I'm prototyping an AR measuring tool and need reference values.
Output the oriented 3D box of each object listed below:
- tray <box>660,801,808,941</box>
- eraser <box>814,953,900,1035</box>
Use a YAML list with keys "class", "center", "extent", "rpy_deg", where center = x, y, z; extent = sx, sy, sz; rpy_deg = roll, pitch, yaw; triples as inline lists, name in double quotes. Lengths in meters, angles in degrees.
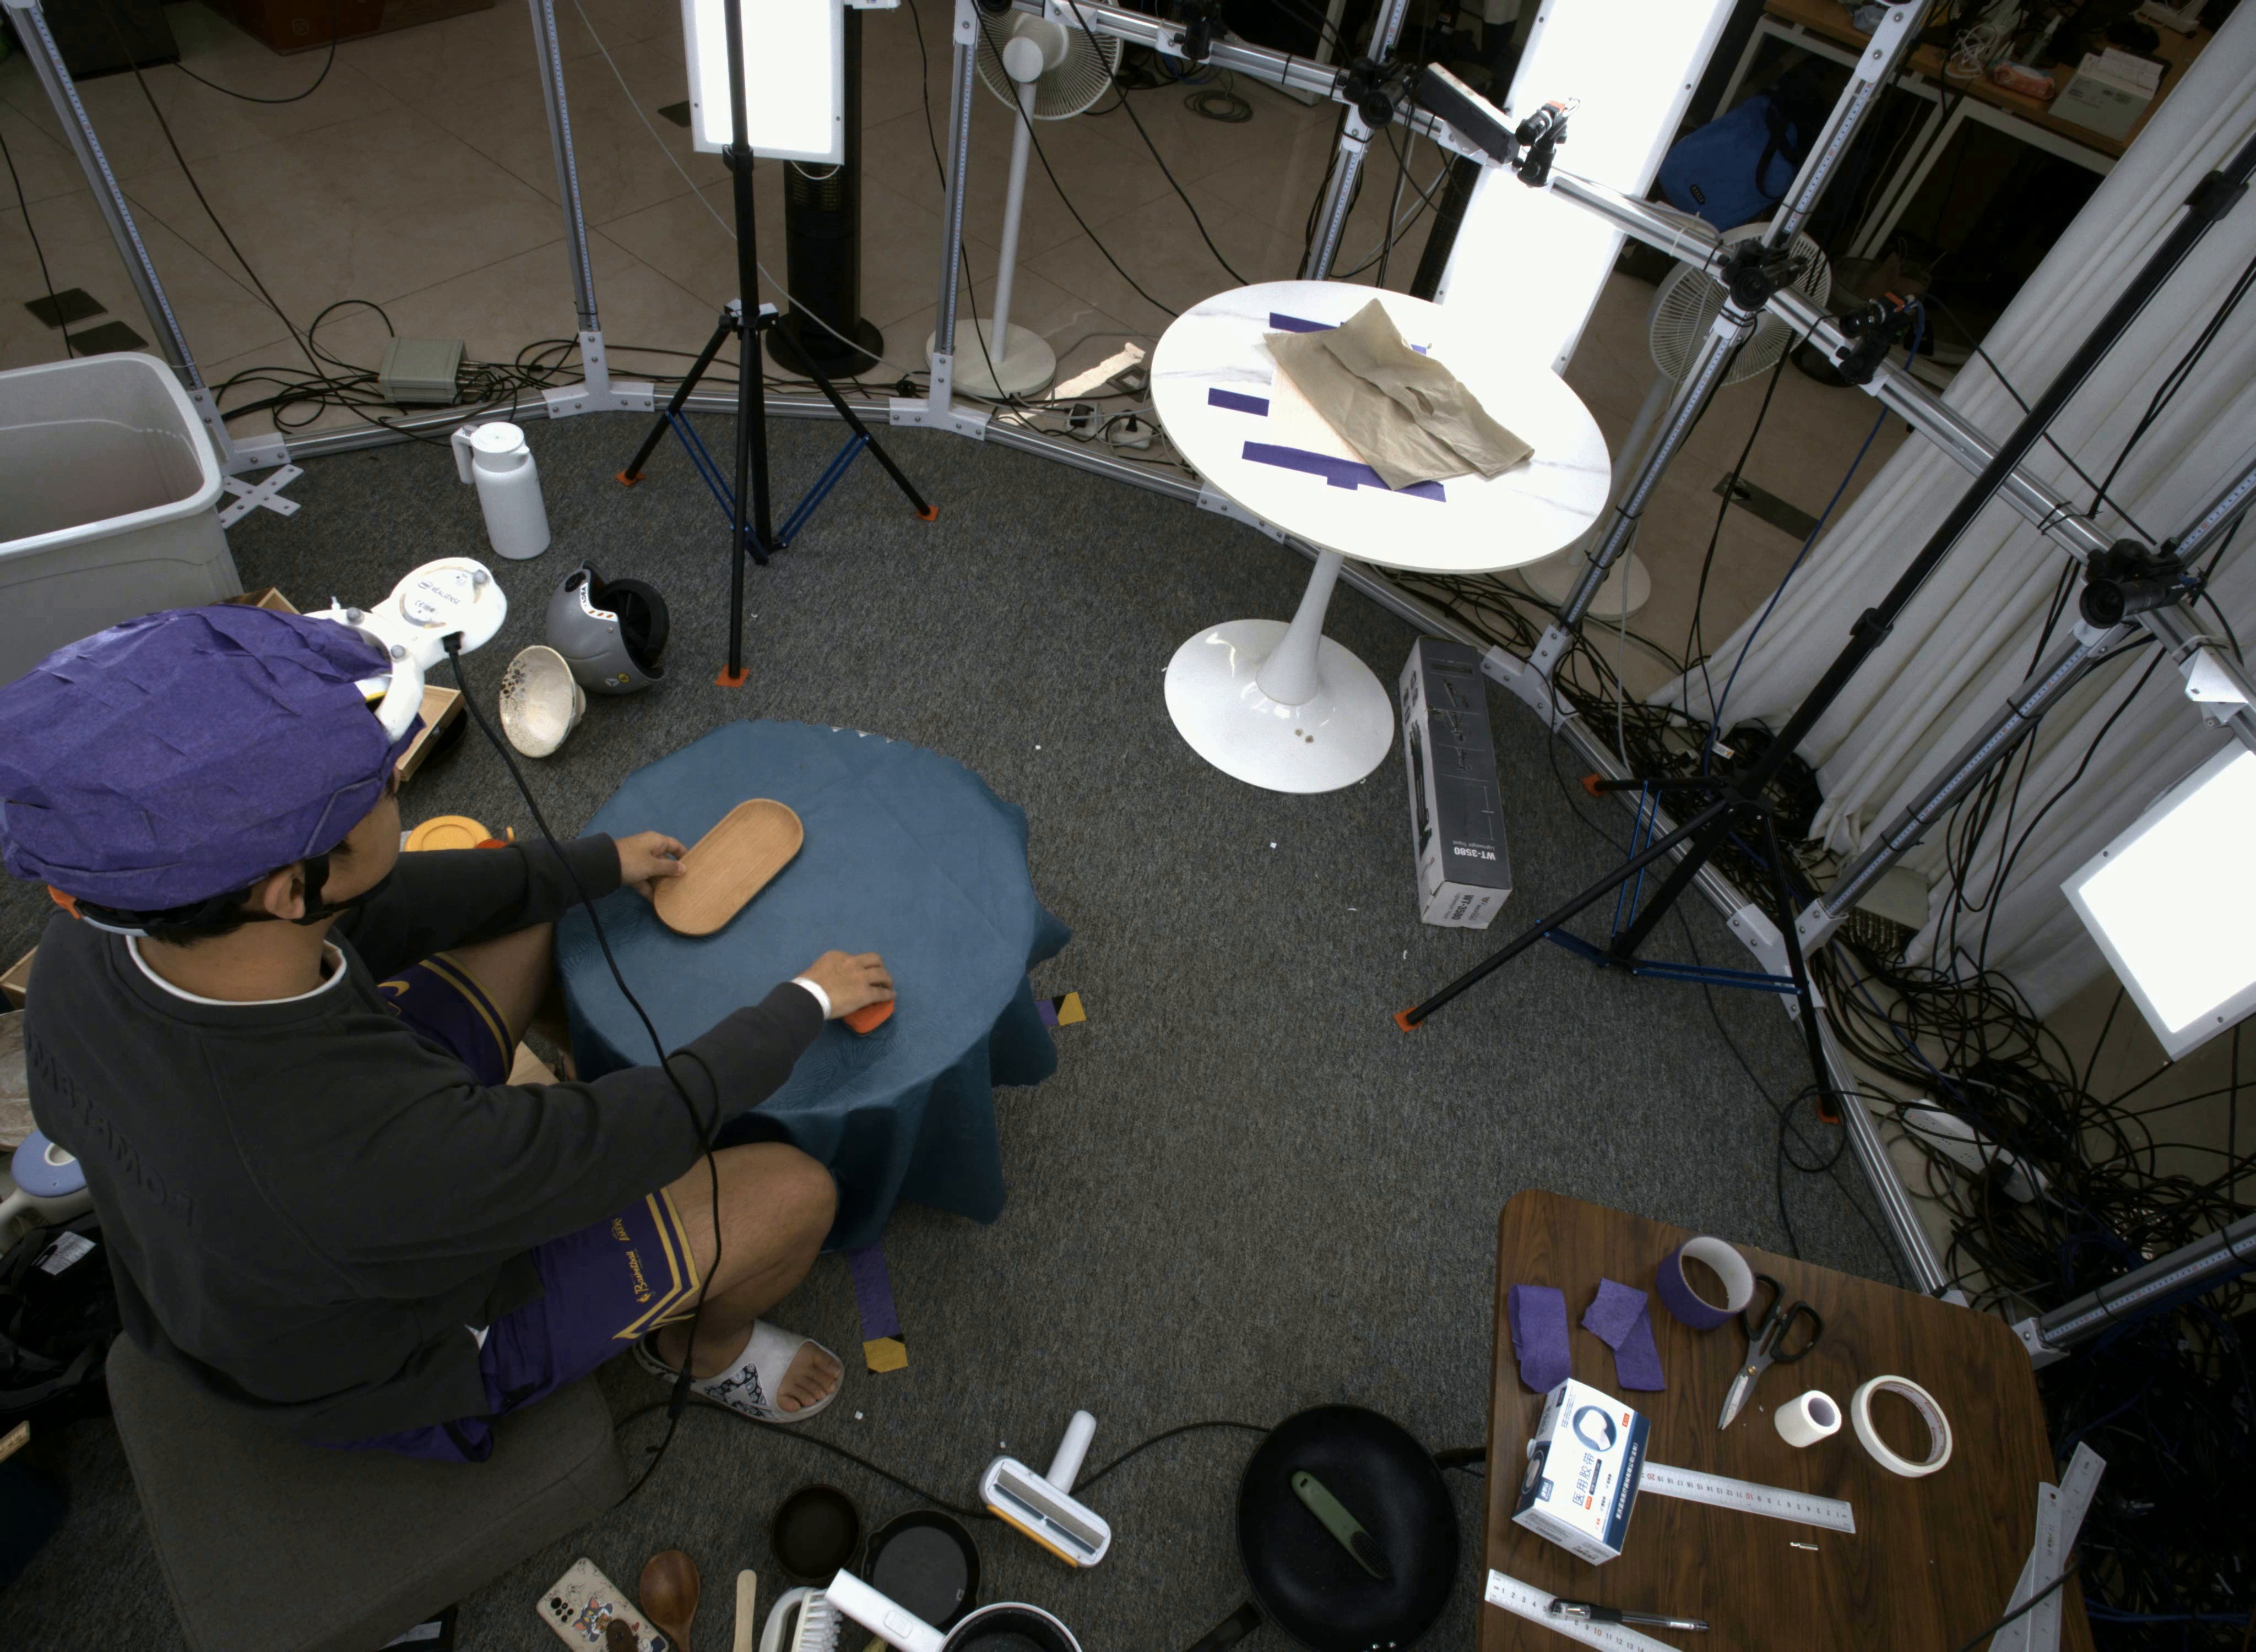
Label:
- class: "tray"
  center: [-0.501, 0.053, 1.648]
  extent: [0.101, 0.020, 0.230]
  rpy_deg: [36, 54, 1]
- class: "eraser"
  center: [-0.330, 0.200, 1.575]
  extent: [0.105, 0.023, 0.059]
  rpy_deg: [39, 43, 23]
